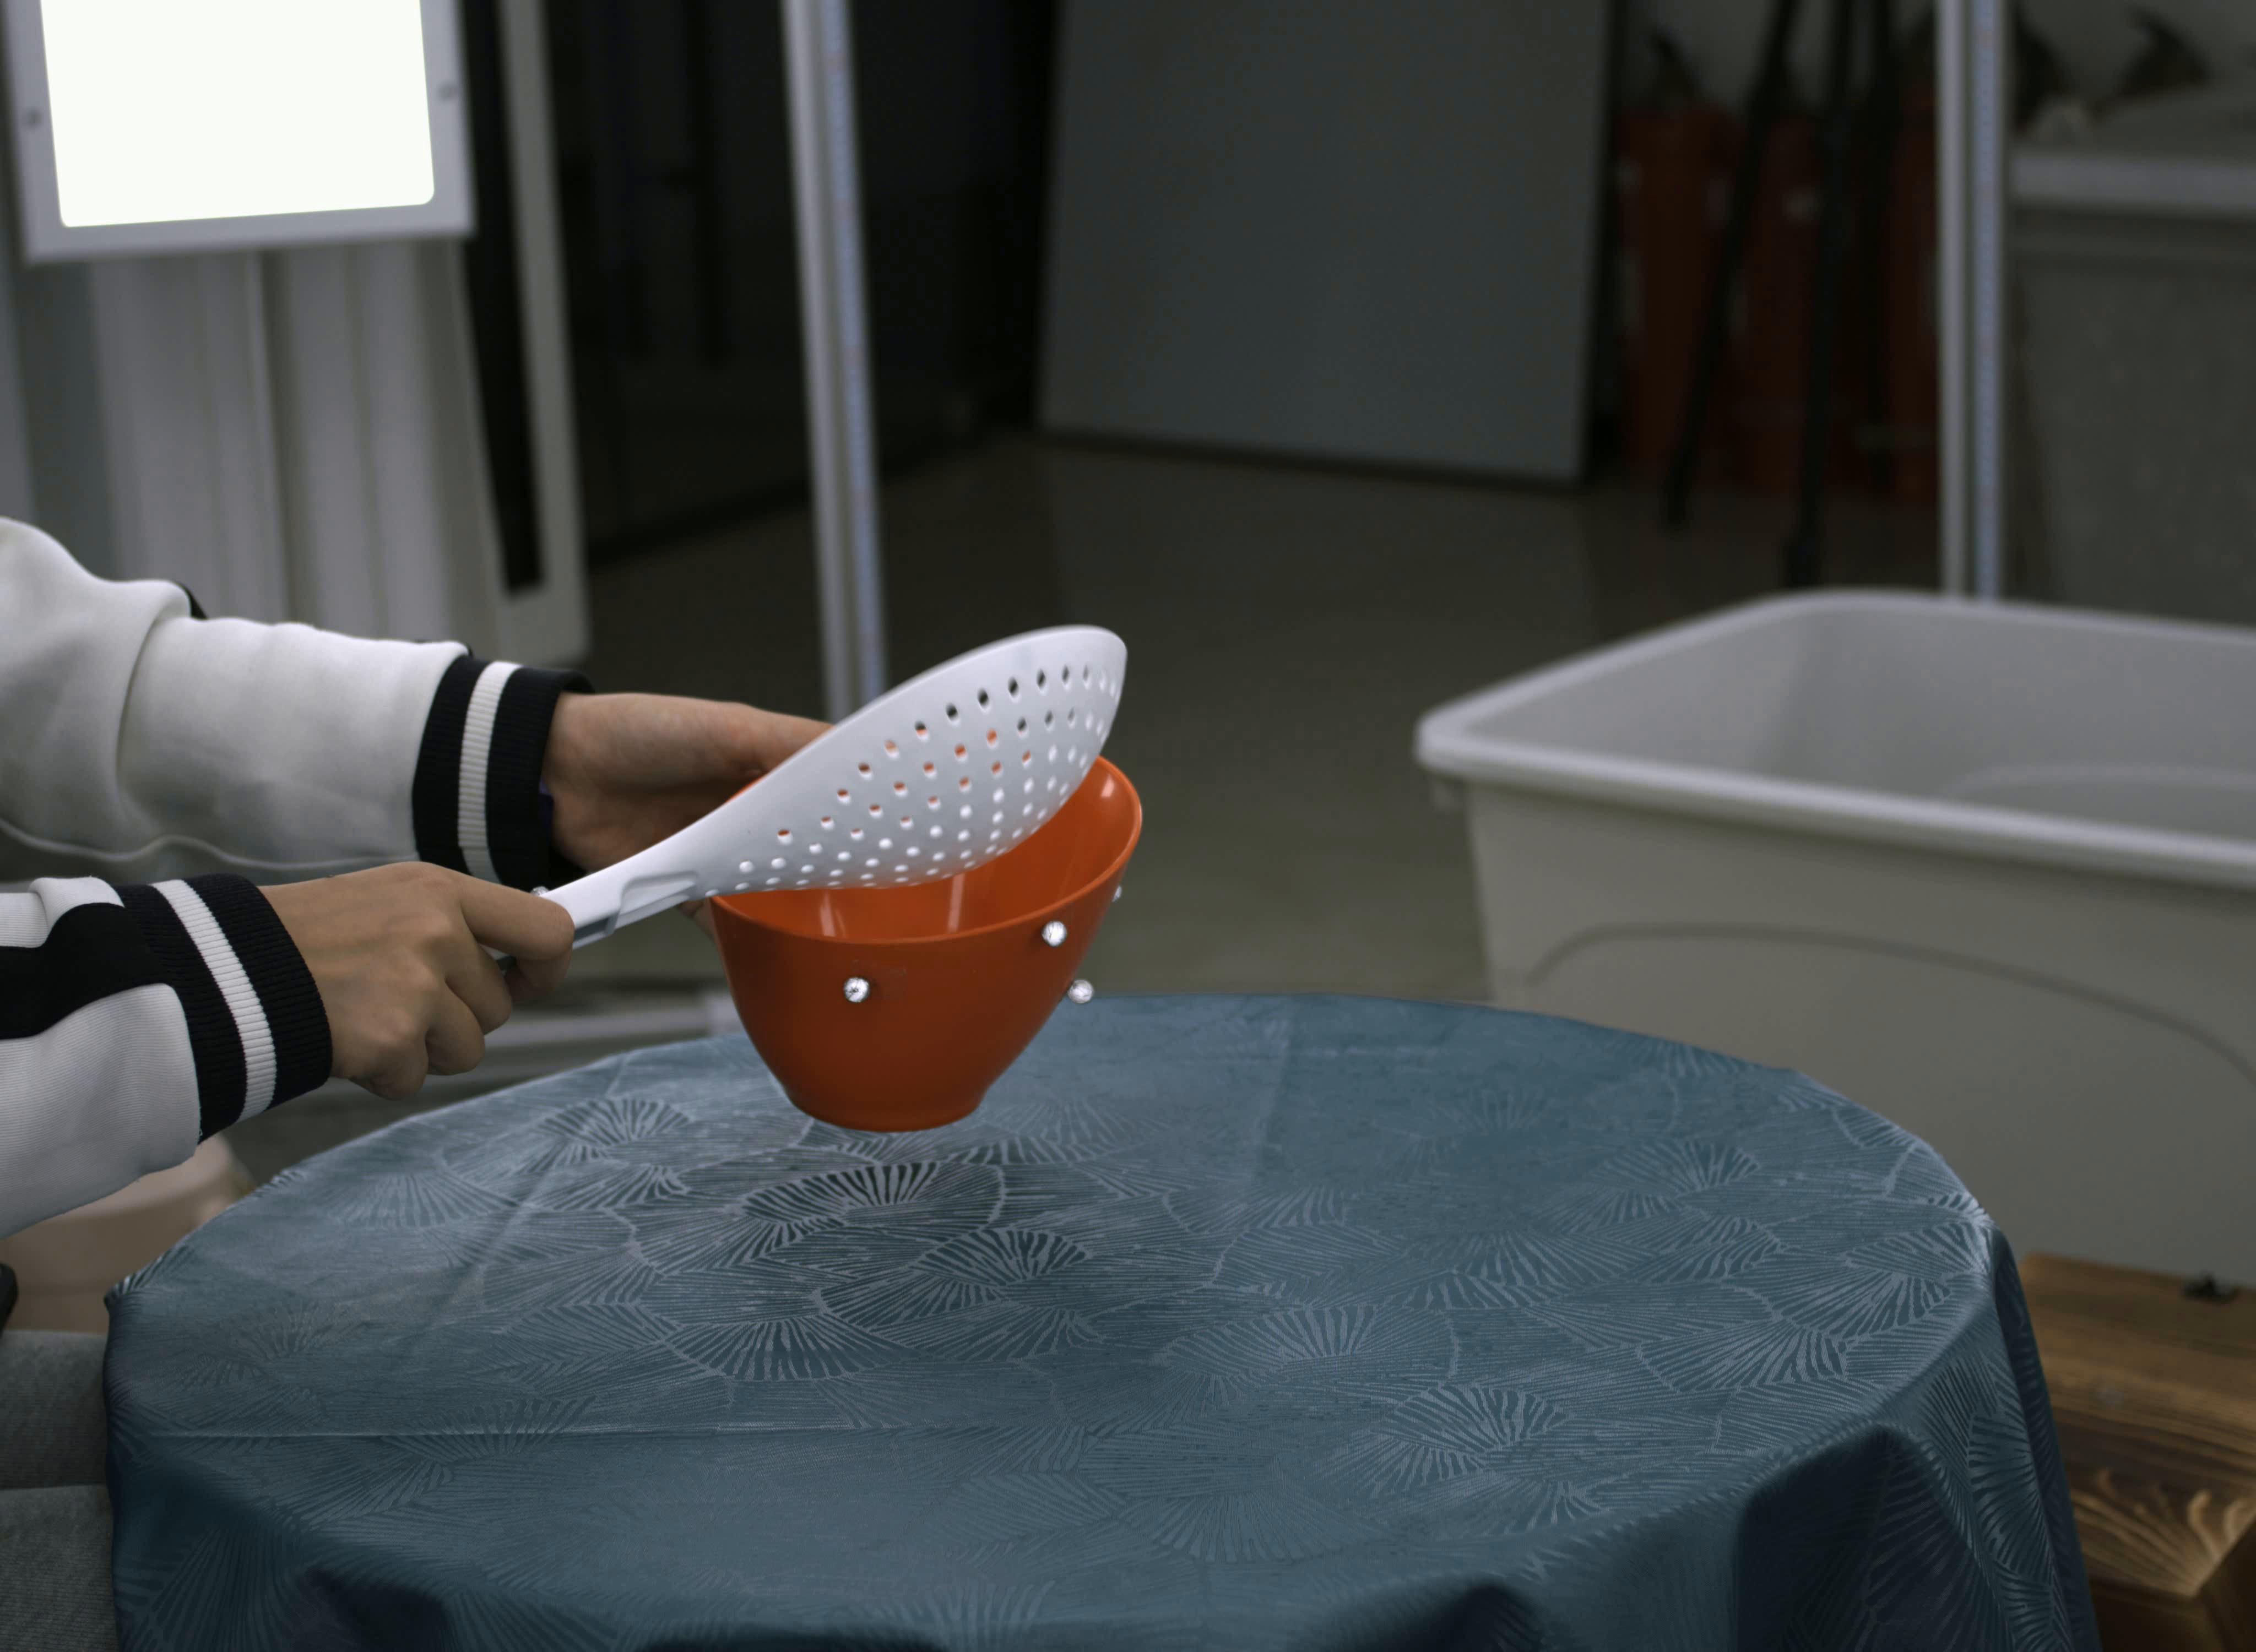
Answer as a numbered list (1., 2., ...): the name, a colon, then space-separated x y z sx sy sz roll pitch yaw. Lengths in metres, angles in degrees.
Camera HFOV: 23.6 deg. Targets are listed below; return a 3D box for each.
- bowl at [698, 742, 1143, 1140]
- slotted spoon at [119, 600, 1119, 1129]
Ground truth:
1. bowl: -0.069 0.040 1.782 0.146 0.106 0.148 2 23 -2
2. slotted spoon: -0.151 0.017 1.681 0.343 0.046 0.136 -19 -23 -17
